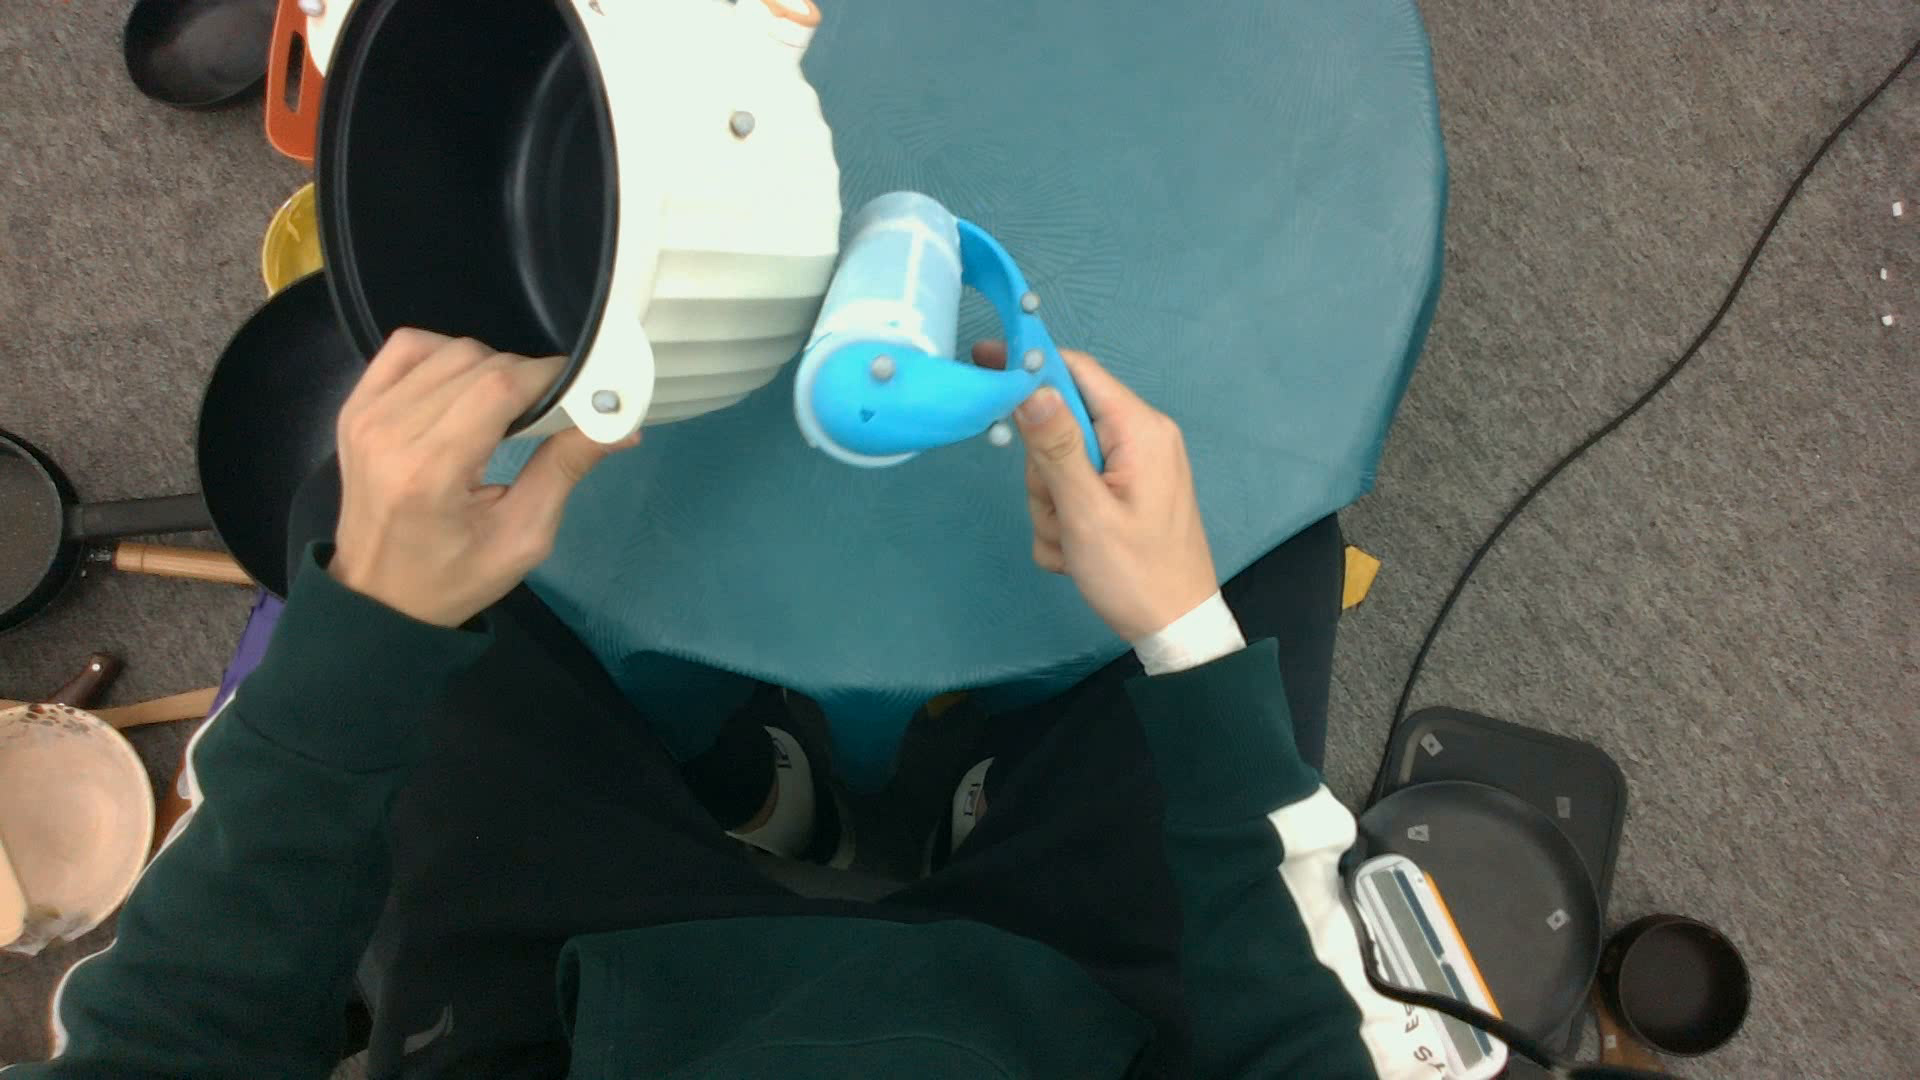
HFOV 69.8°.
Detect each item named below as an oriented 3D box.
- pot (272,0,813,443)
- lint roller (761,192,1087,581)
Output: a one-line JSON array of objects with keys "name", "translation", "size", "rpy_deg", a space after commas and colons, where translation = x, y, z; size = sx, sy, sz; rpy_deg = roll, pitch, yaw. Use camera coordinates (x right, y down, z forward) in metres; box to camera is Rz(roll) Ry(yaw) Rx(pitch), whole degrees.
[{"name": "pot", "translation": [-0.152, -0.140, 0.544], "size": [0.240, 0.143, 0.189], "rpy_deg": [47, 125, 18]}, {"name": "lint roller", "translation": [0.003, -0.058, 0.571], "size": [0.180, 0.230, 0.068], "rpy_deg": [37, 109, -20]}]
